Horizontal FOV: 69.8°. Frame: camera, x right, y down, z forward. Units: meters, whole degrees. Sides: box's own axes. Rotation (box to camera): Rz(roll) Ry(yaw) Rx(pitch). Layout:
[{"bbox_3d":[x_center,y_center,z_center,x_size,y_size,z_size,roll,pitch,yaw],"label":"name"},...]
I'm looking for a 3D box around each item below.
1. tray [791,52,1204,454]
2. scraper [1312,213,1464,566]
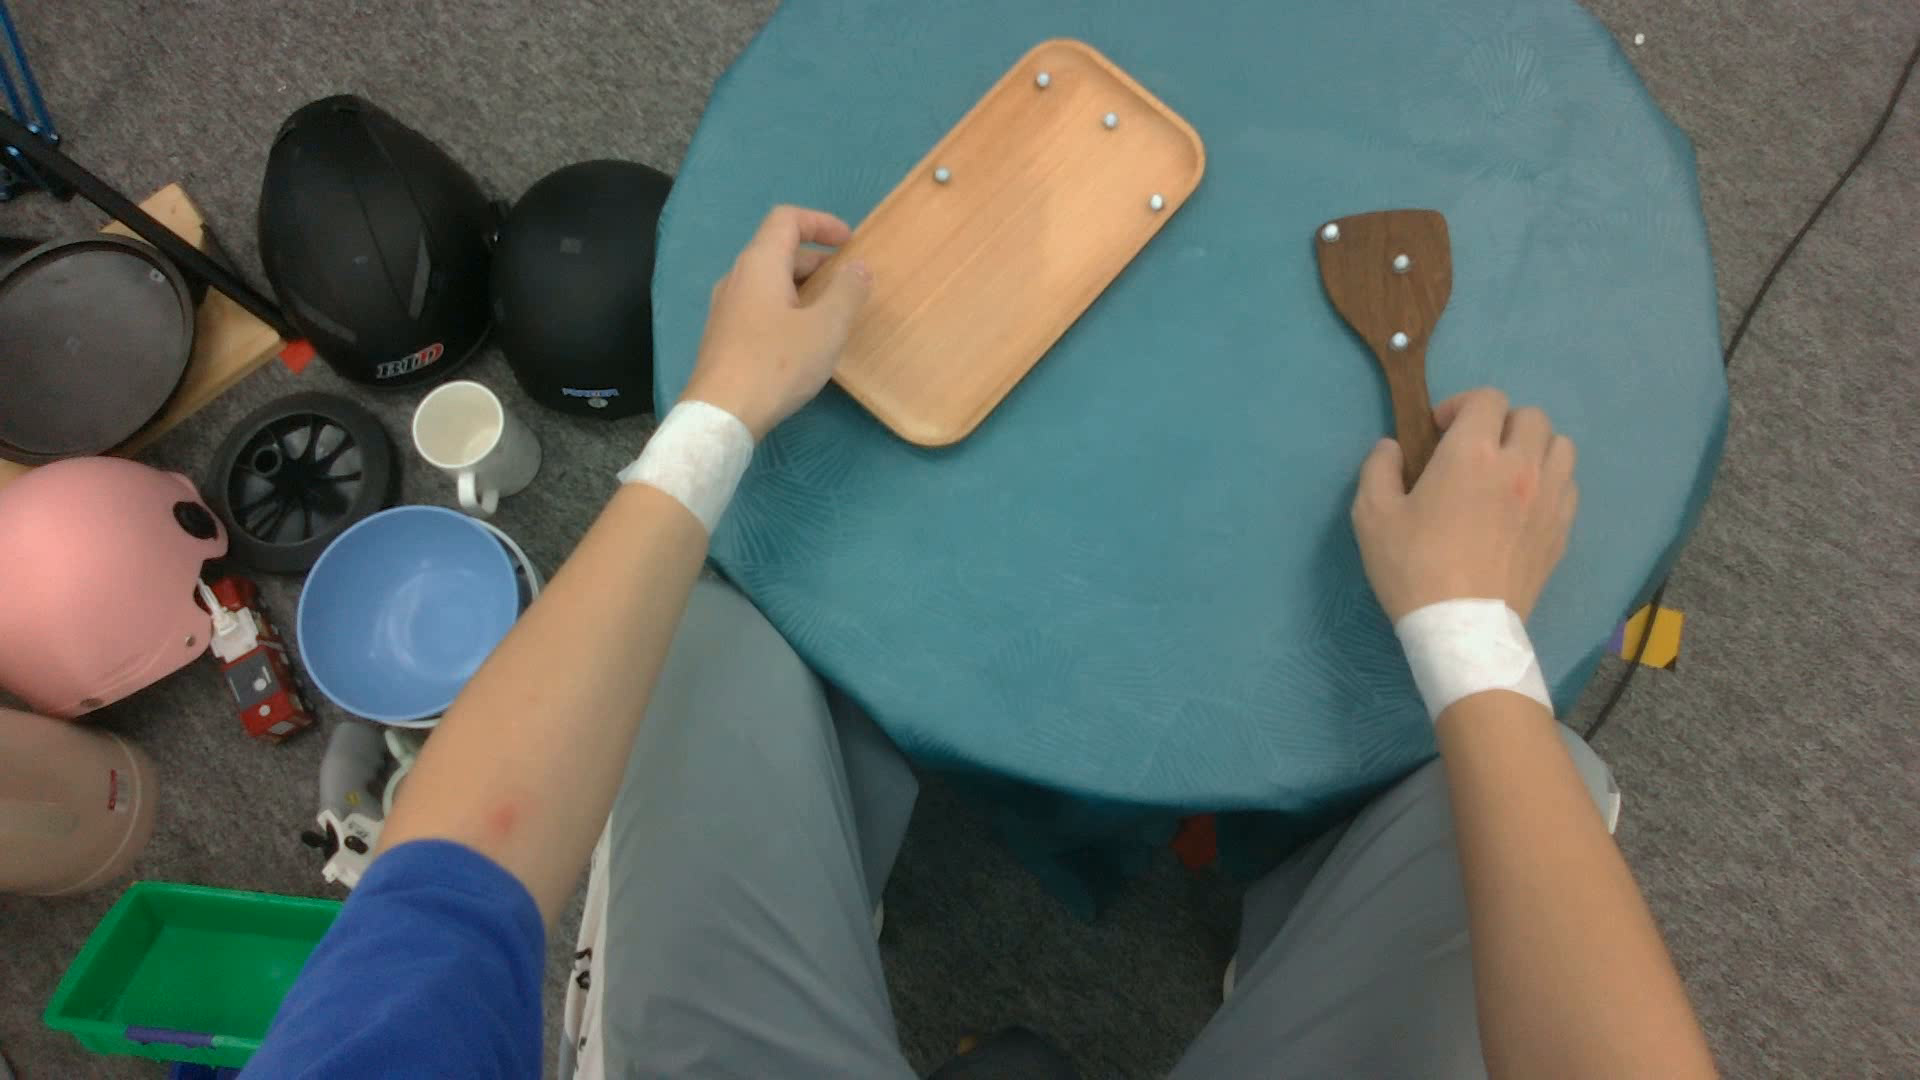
[{"bbox_3d":[0.023,-0.167,0.791,0.130,0.023,0.251,41,80,11],"label":"tray"},{"bbox_3d":[0.245,-0.086,0.759,0.076,0.011,0.212,-5,70,4],"label":"scraper"}]
